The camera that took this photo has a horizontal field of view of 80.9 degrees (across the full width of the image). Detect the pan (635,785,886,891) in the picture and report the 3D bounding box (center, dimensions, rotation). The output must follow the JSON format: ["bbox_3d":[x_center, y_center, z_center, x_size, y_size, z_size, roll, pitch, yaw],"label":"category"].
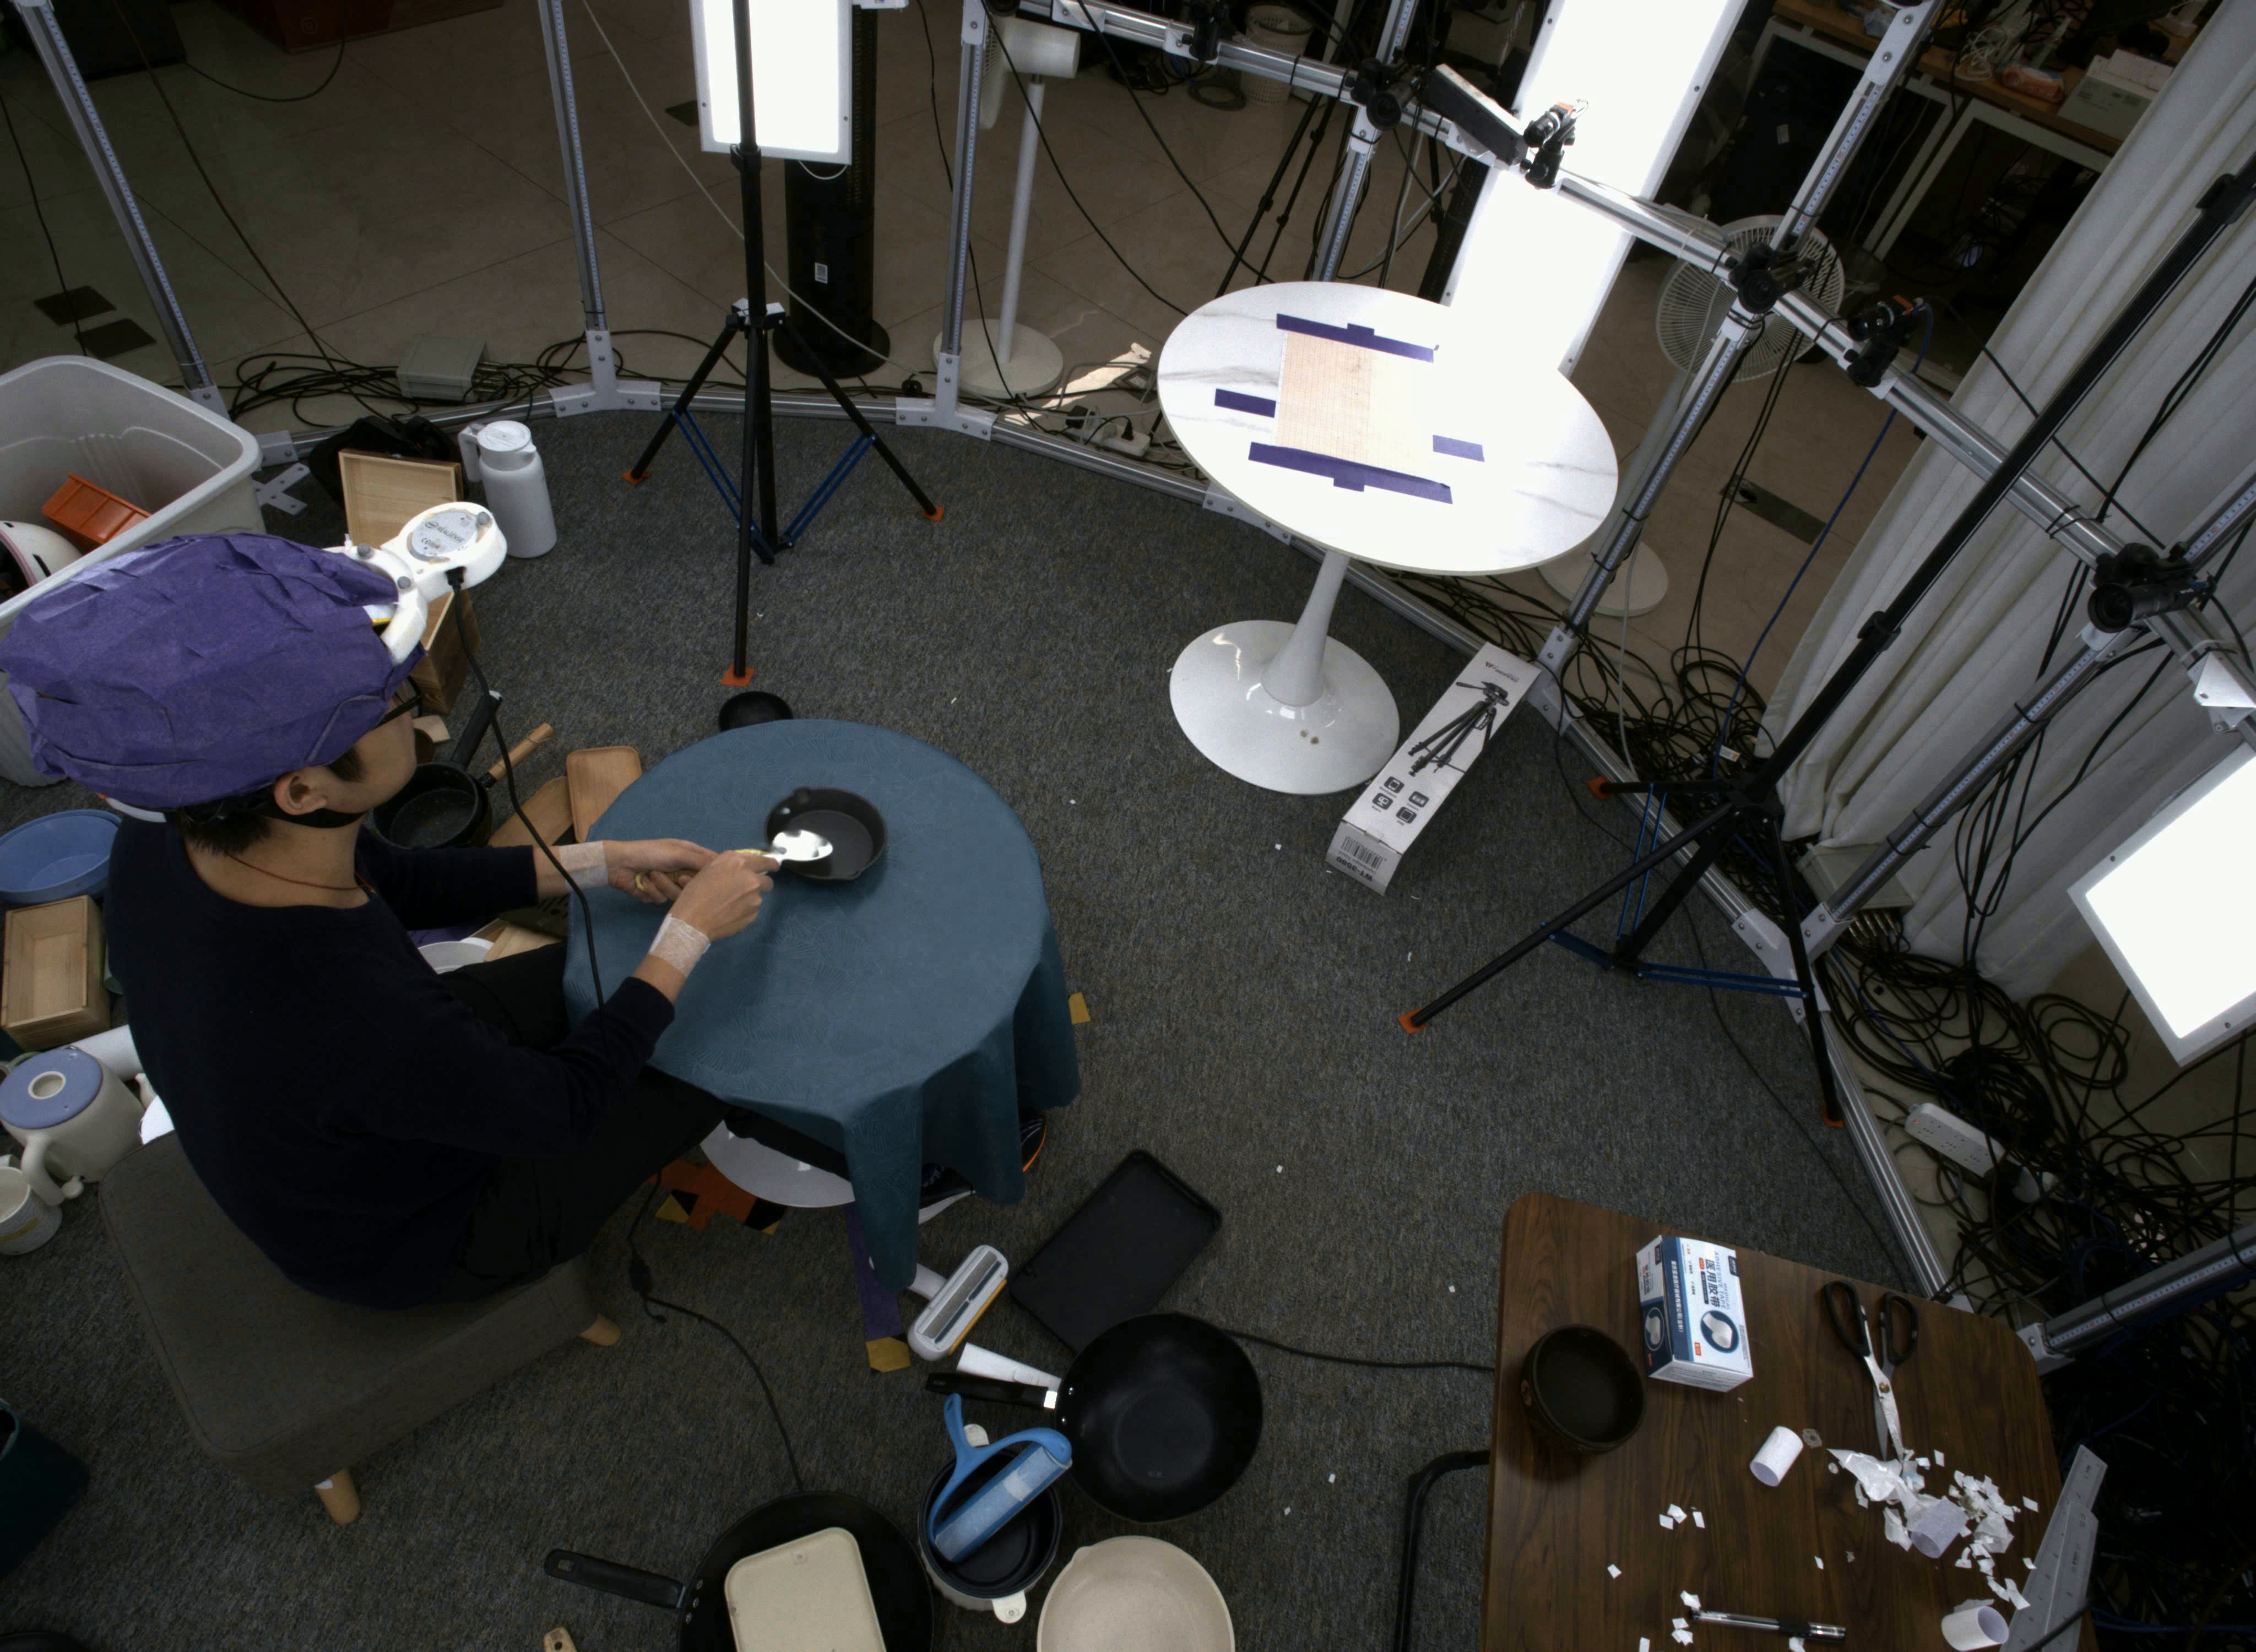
[{"bbox_3d":[-0.462,0.031,1.630,0.327,0.050,0.164,-17,57,-32],"label":"pan"}]

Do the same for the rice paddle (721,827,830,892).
[{"bbox_3d":[-0.429,0.033,1.585,0.068,0.030,0.205,28,21,8],"label":"rice paddle"}]
